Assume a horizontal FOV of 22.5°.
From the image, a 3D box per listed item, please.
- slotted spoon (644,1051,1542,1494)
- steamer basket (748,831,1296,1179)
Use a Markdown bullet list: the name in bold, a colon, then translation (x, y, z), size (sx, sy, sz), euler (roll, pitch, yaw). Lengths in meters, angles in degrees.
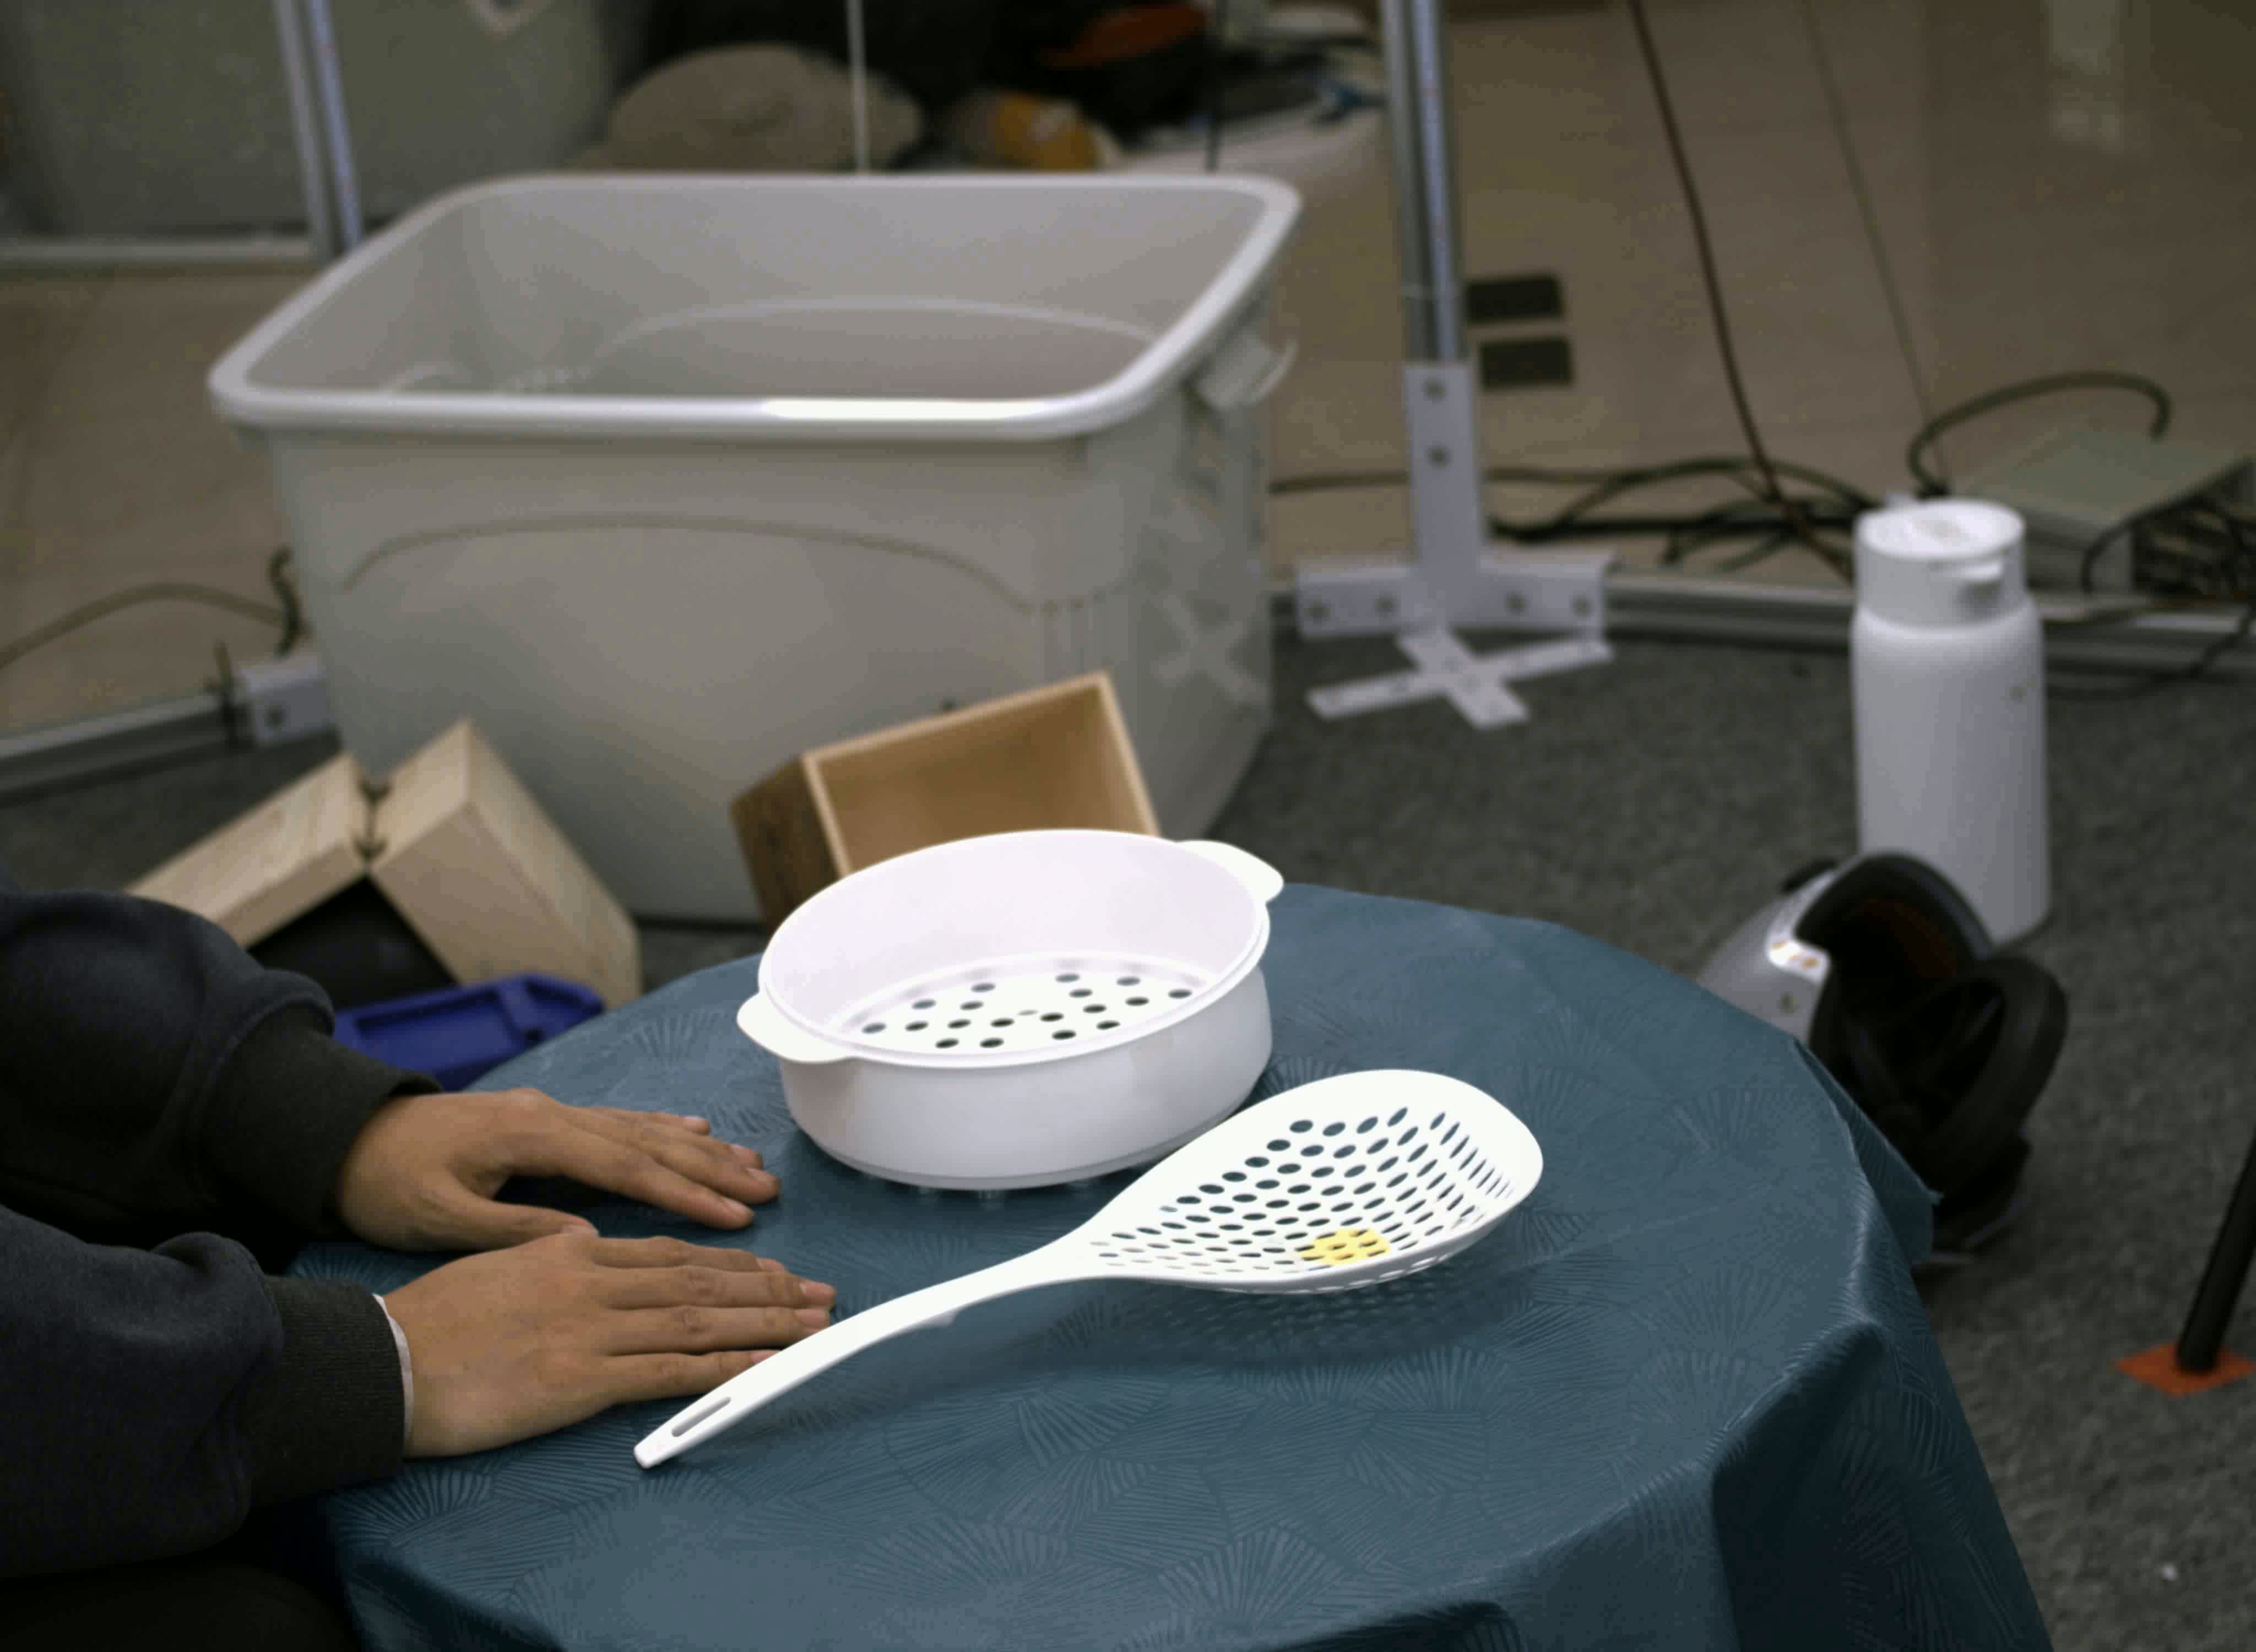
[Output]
- **slotted spoon**: translation (-0.015, 0.166, 2.045), size (0.346, 0.051, 0.135), euler (-15, 30, -17)
- **steamer basket**: translation (-0.037, 0.071, 2.221), size (0.229, 0.070, 0.200), euler (-18, 27, -27)
